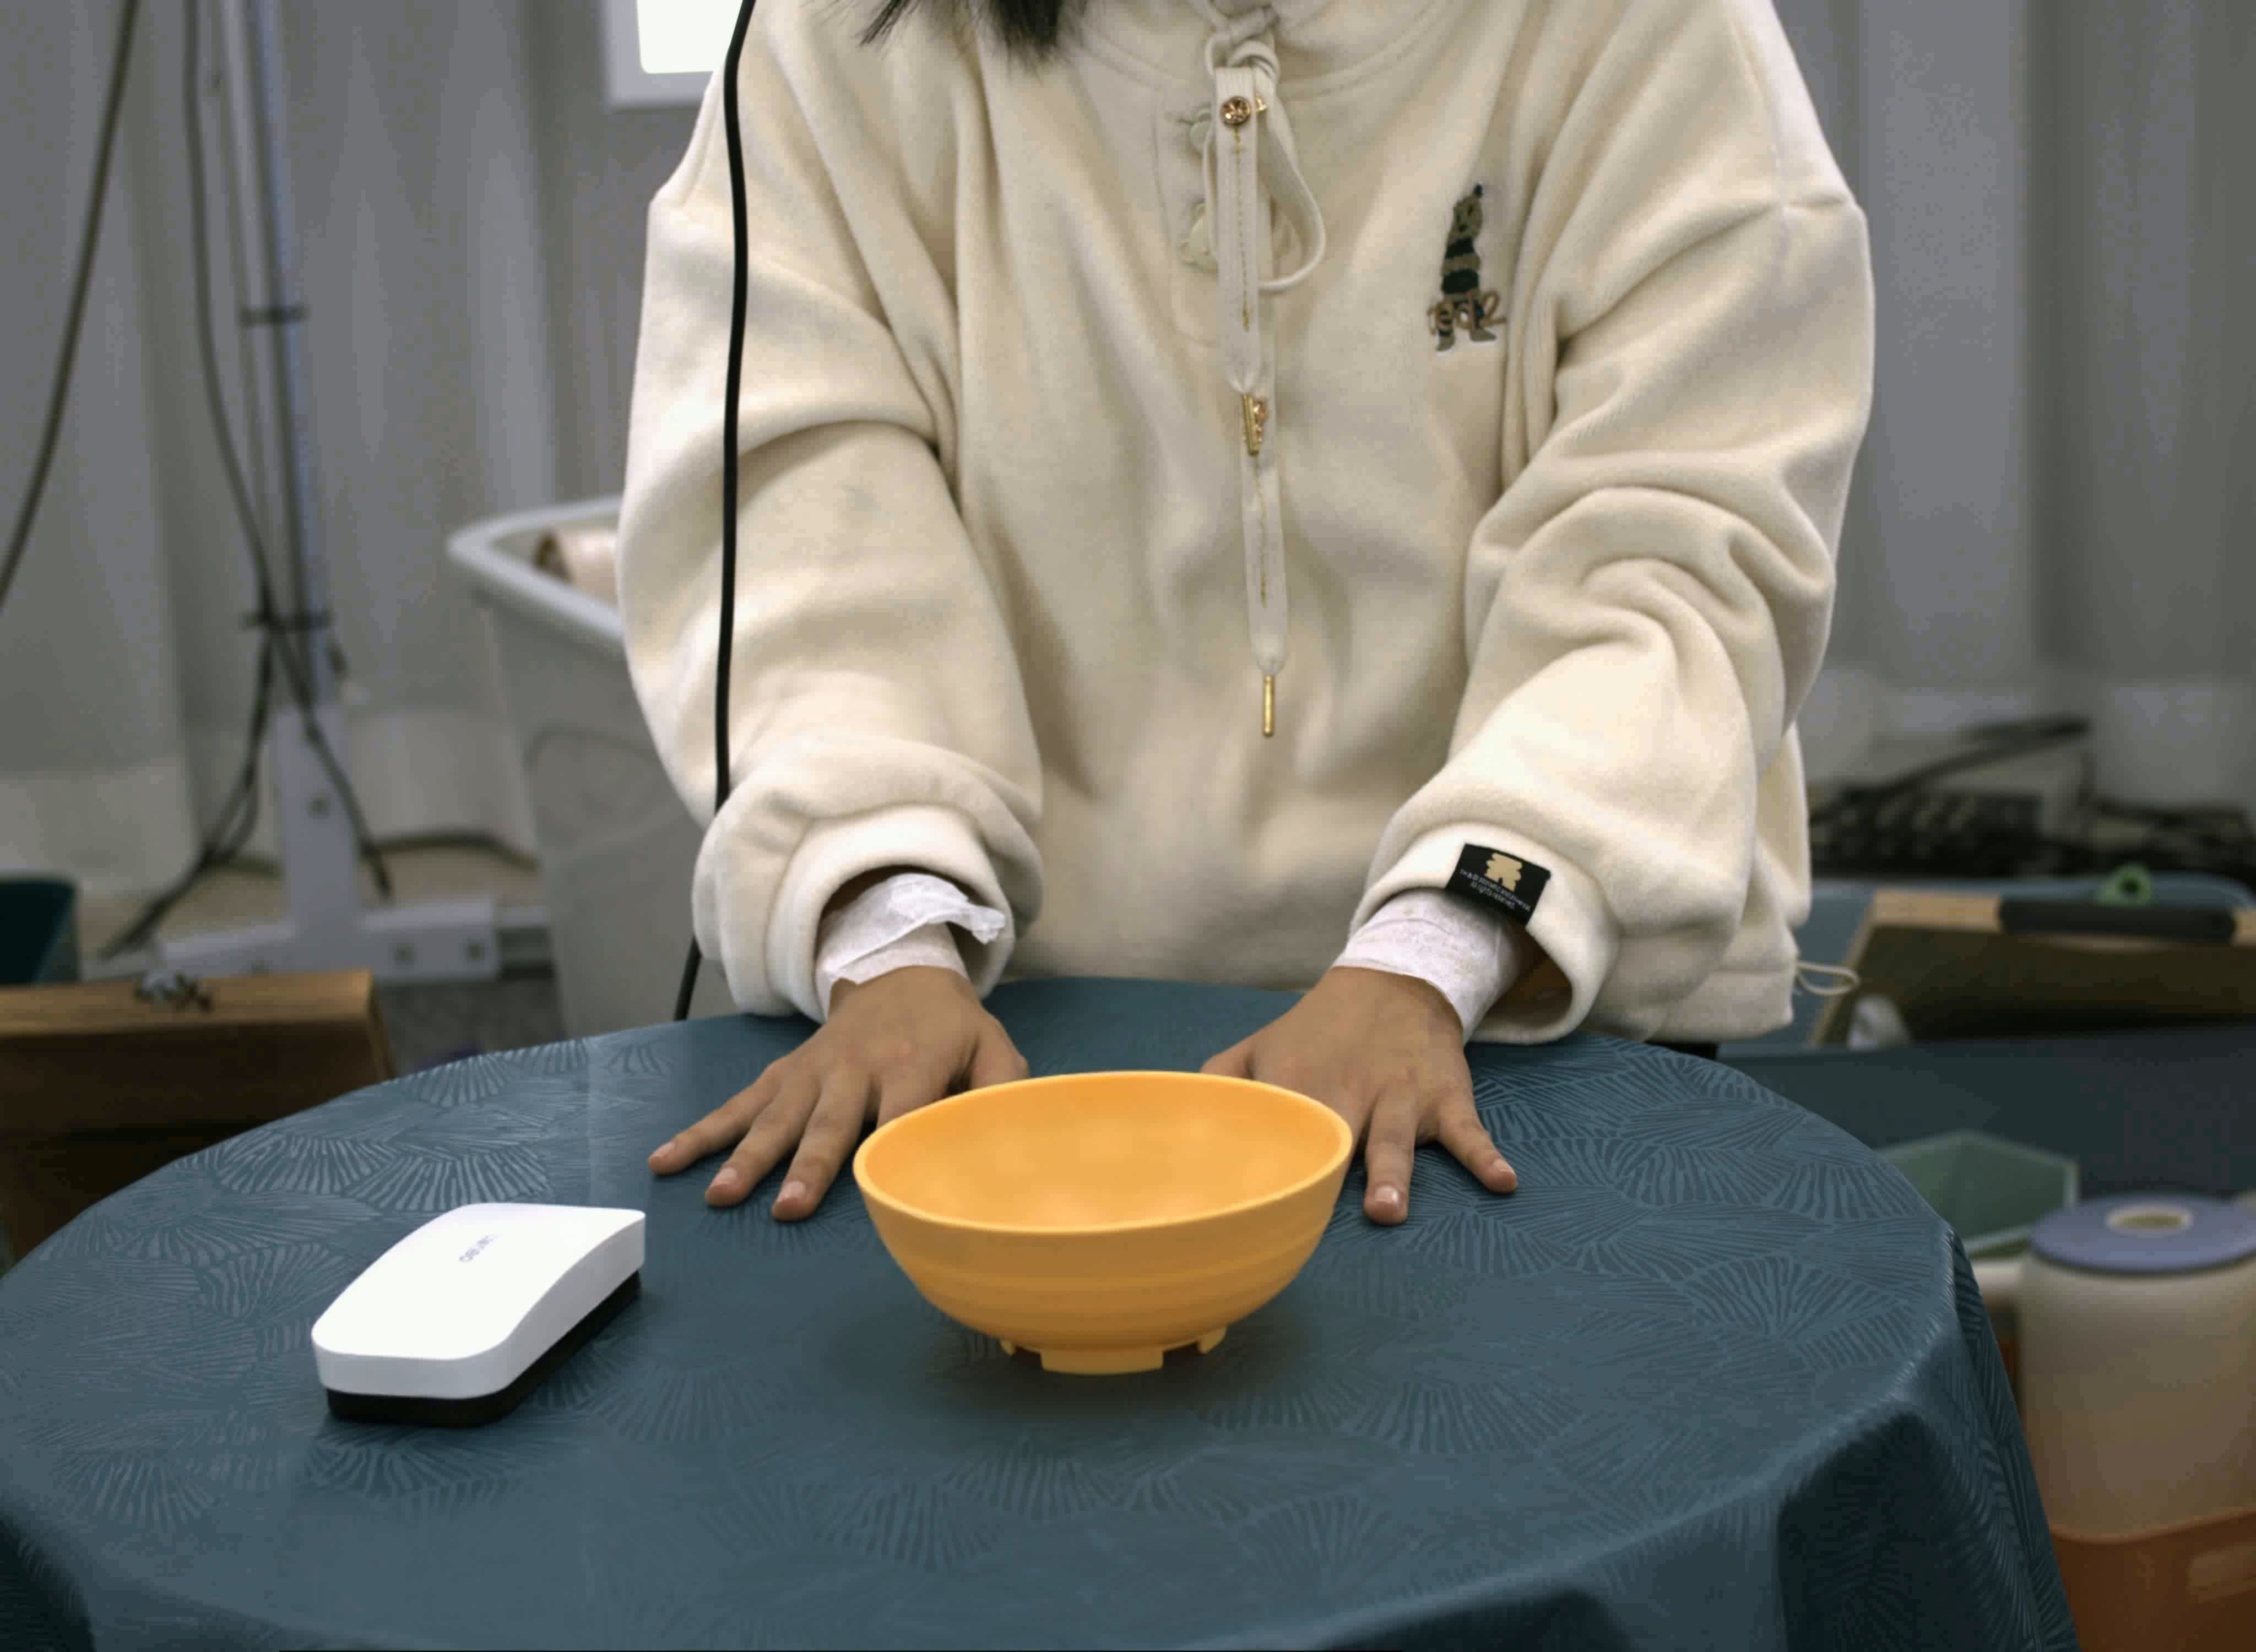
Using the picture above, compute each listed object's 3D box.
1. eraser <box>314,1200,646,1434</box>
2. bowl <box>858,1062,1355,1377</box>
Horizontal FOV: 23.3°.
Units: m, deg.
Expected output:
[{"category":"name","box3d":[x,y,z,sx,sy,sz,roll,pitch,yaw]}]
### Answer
[{"category":"eraser","box3d":[-0.186,0.139,1.599,0.063,0.034,0.132,2,16,17]},{"category":"bowl","box3d":[-0.004,0.120,1.583,0.145,0.060,0.146,-4,17,1]}]
